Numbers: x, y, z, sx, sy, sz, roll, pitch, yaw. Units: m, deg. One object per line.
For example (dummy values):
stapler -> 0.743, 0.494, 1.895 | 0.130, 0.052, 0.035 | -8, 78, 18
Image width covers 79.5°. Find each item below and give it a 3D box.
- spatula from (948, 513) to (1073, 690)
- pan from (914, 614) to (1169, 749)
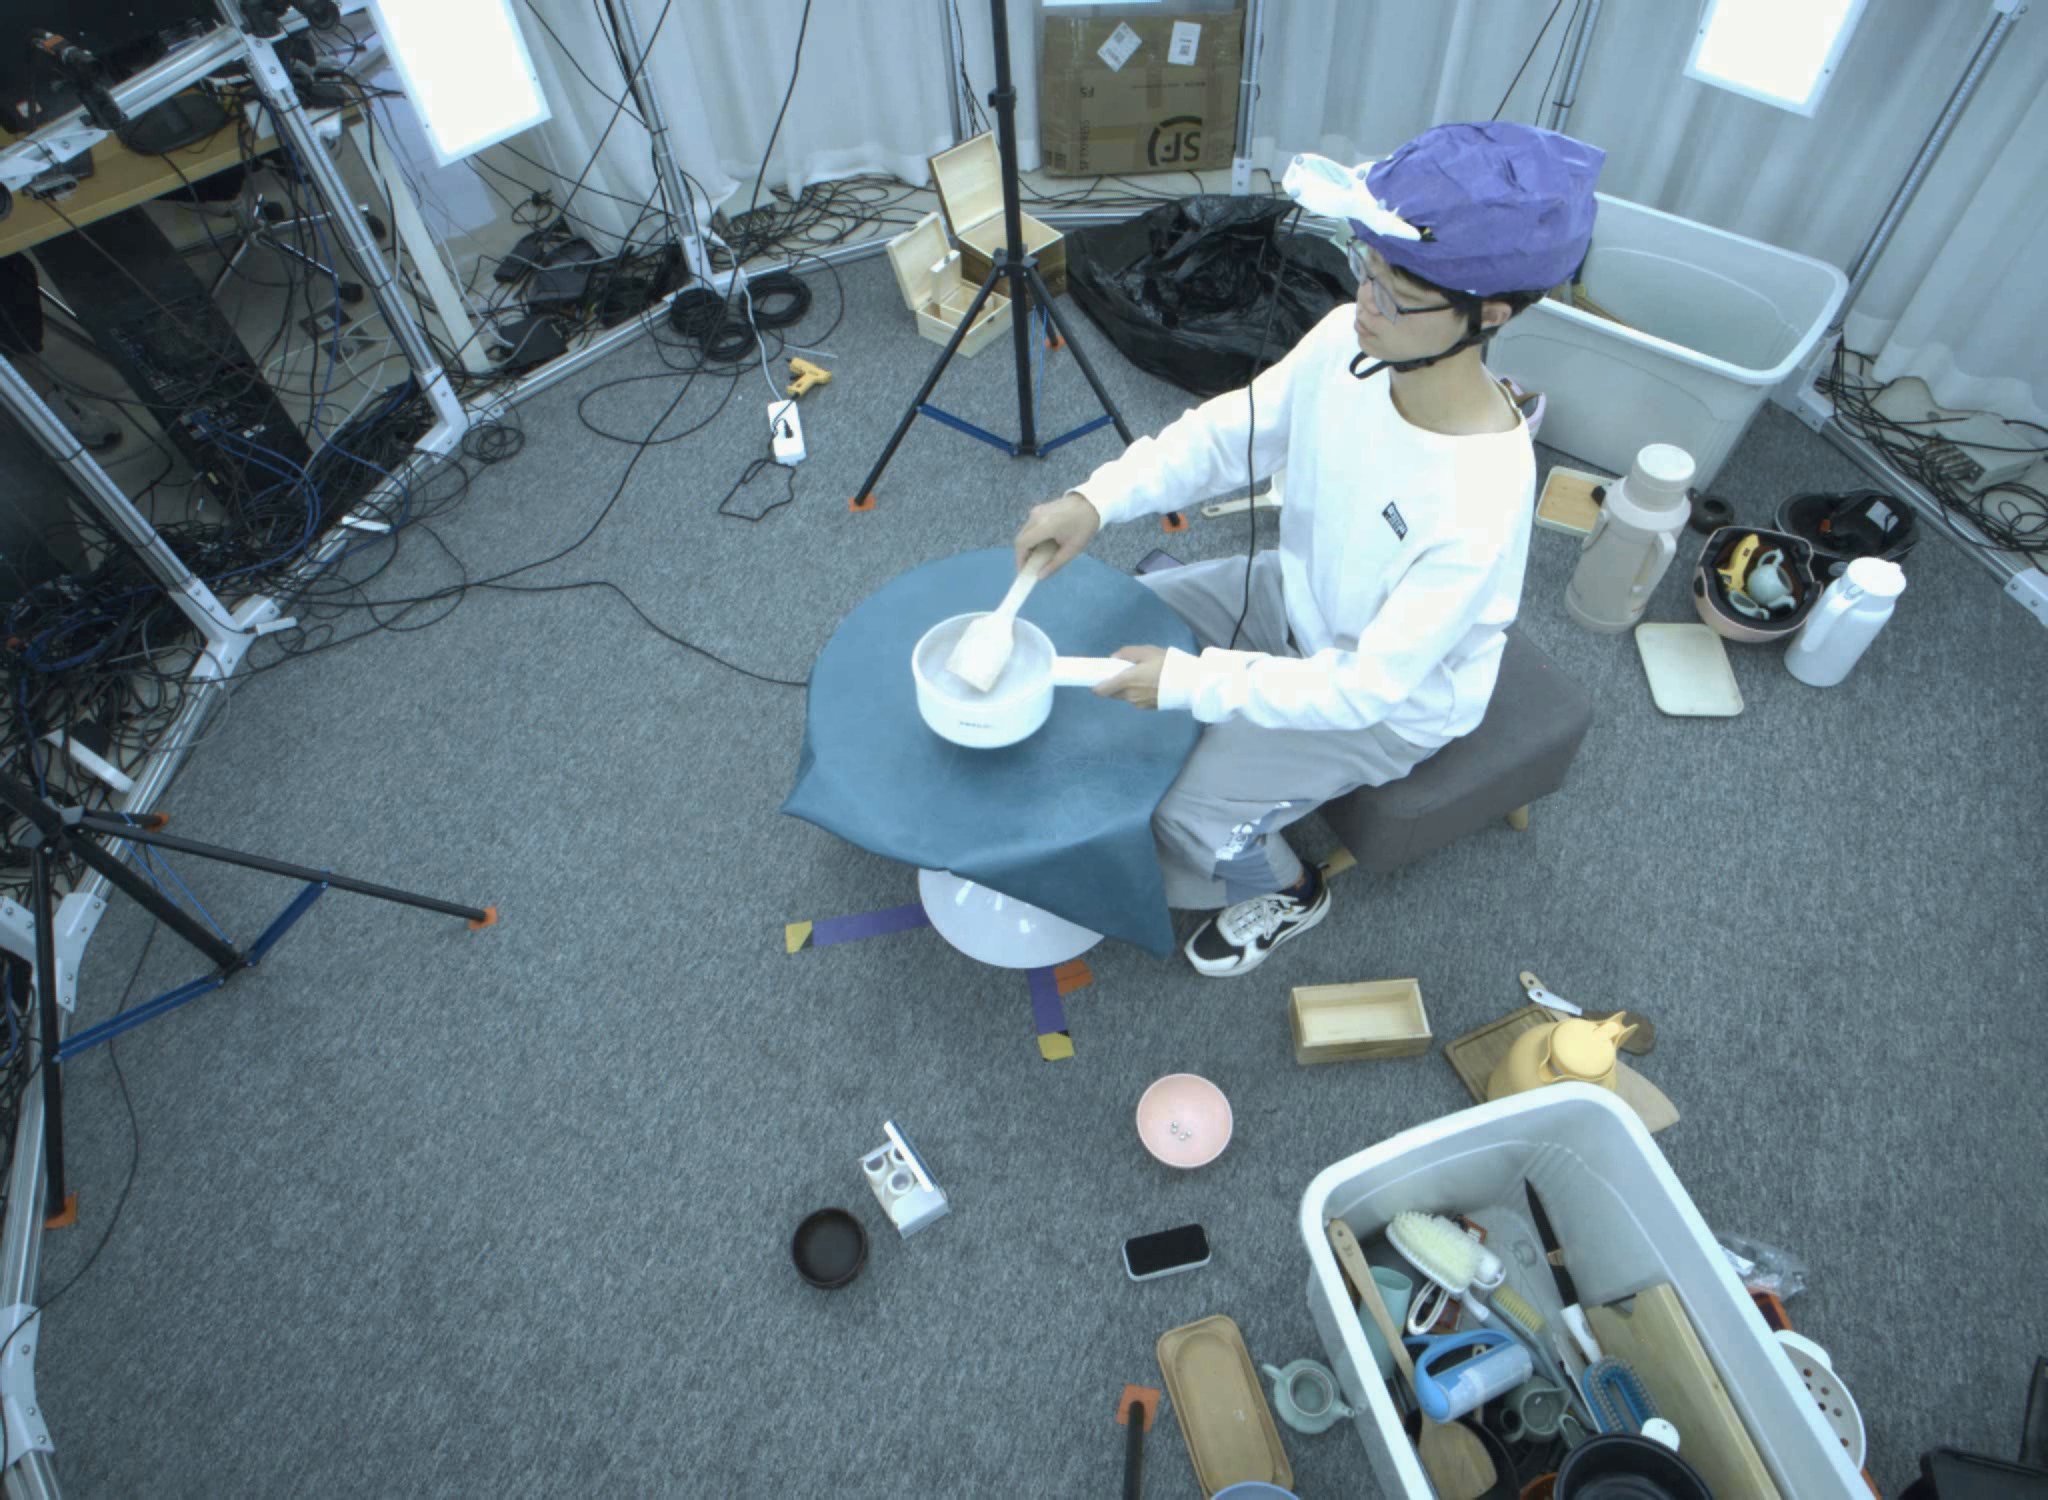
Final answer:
spatula -> -0.010, -0.220, 1.746 | 0.072, 0.010, 0.293 | 32, 75, -5
pan -> 0.023, -0.090, 1.739 | 0.355, 0.103, 0.199 | 3, 46, -2
